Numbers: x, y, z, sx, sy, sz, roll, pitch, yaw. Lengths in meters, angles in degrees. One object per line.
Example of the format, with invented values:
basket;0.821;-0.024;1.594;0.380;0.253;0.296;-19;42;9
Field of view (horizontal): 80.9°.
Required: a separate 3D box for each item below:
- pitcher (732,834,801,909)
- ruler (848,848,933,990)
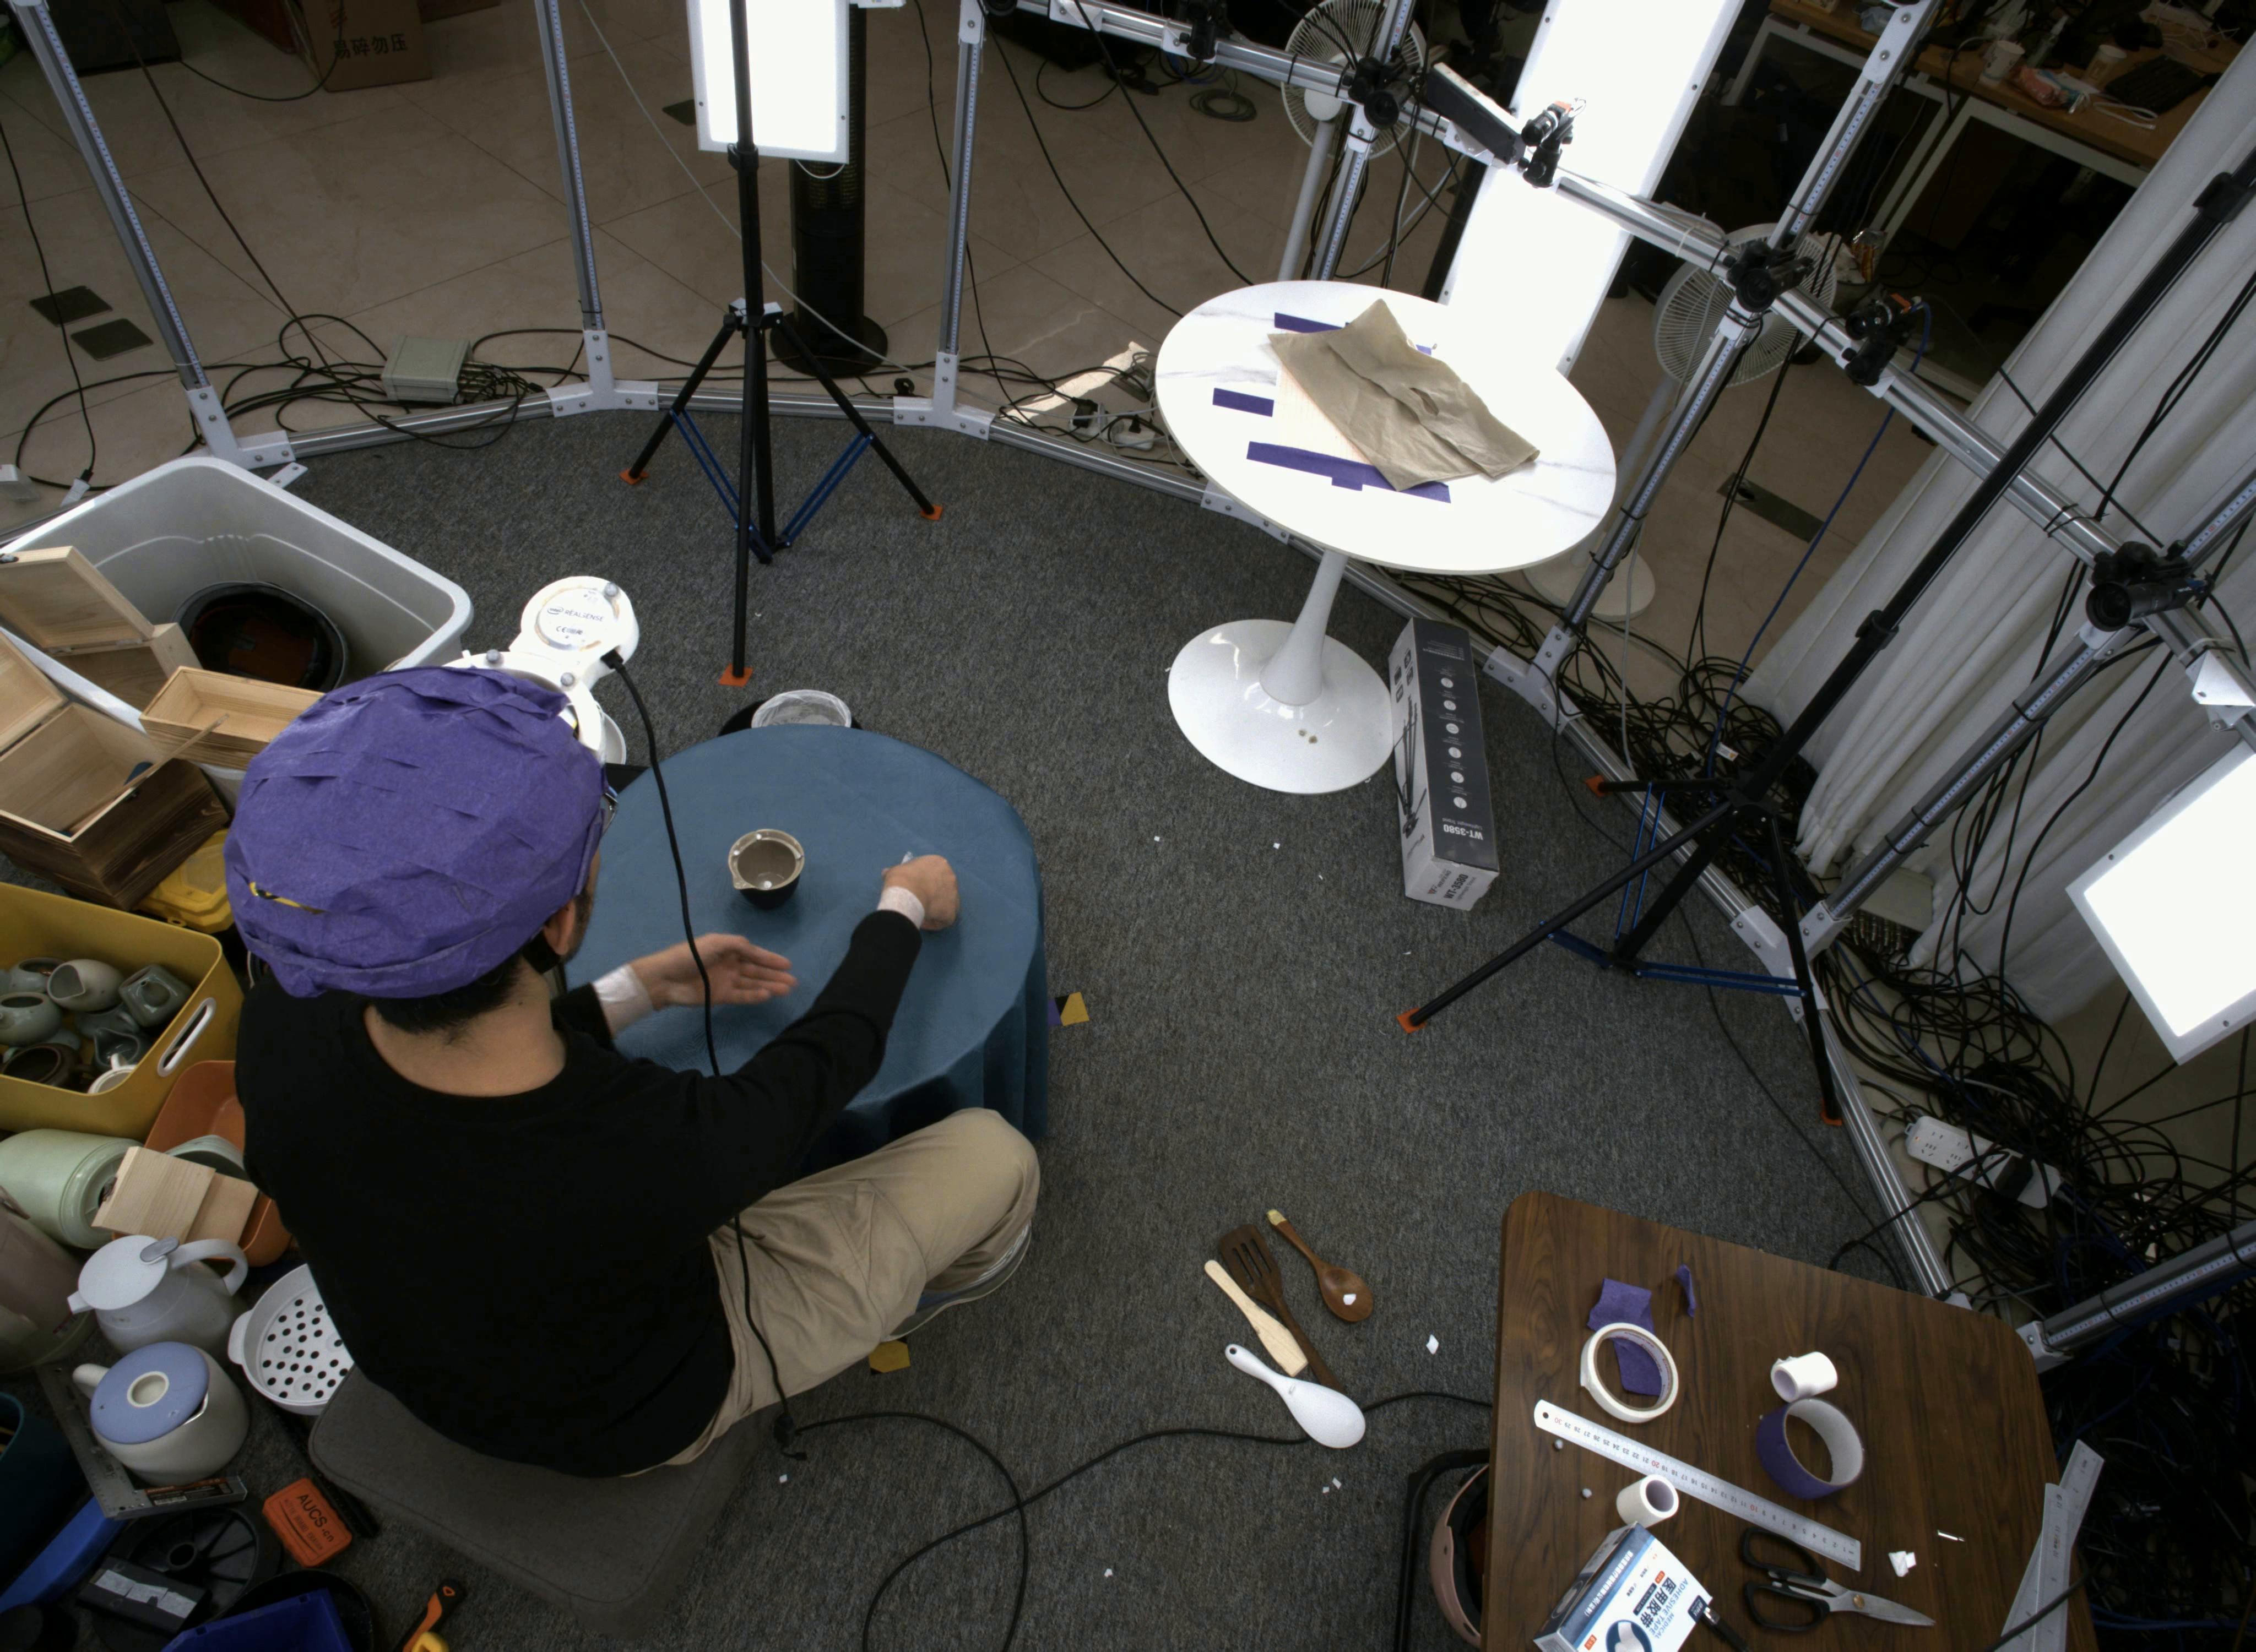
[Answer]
pitcher;-0.454;0.063;1.616;0.082;0.073;0.096;32;52;11
ruler;-0.302;0.111;1.654;0.038;0.024;0.216;24;53;-5
